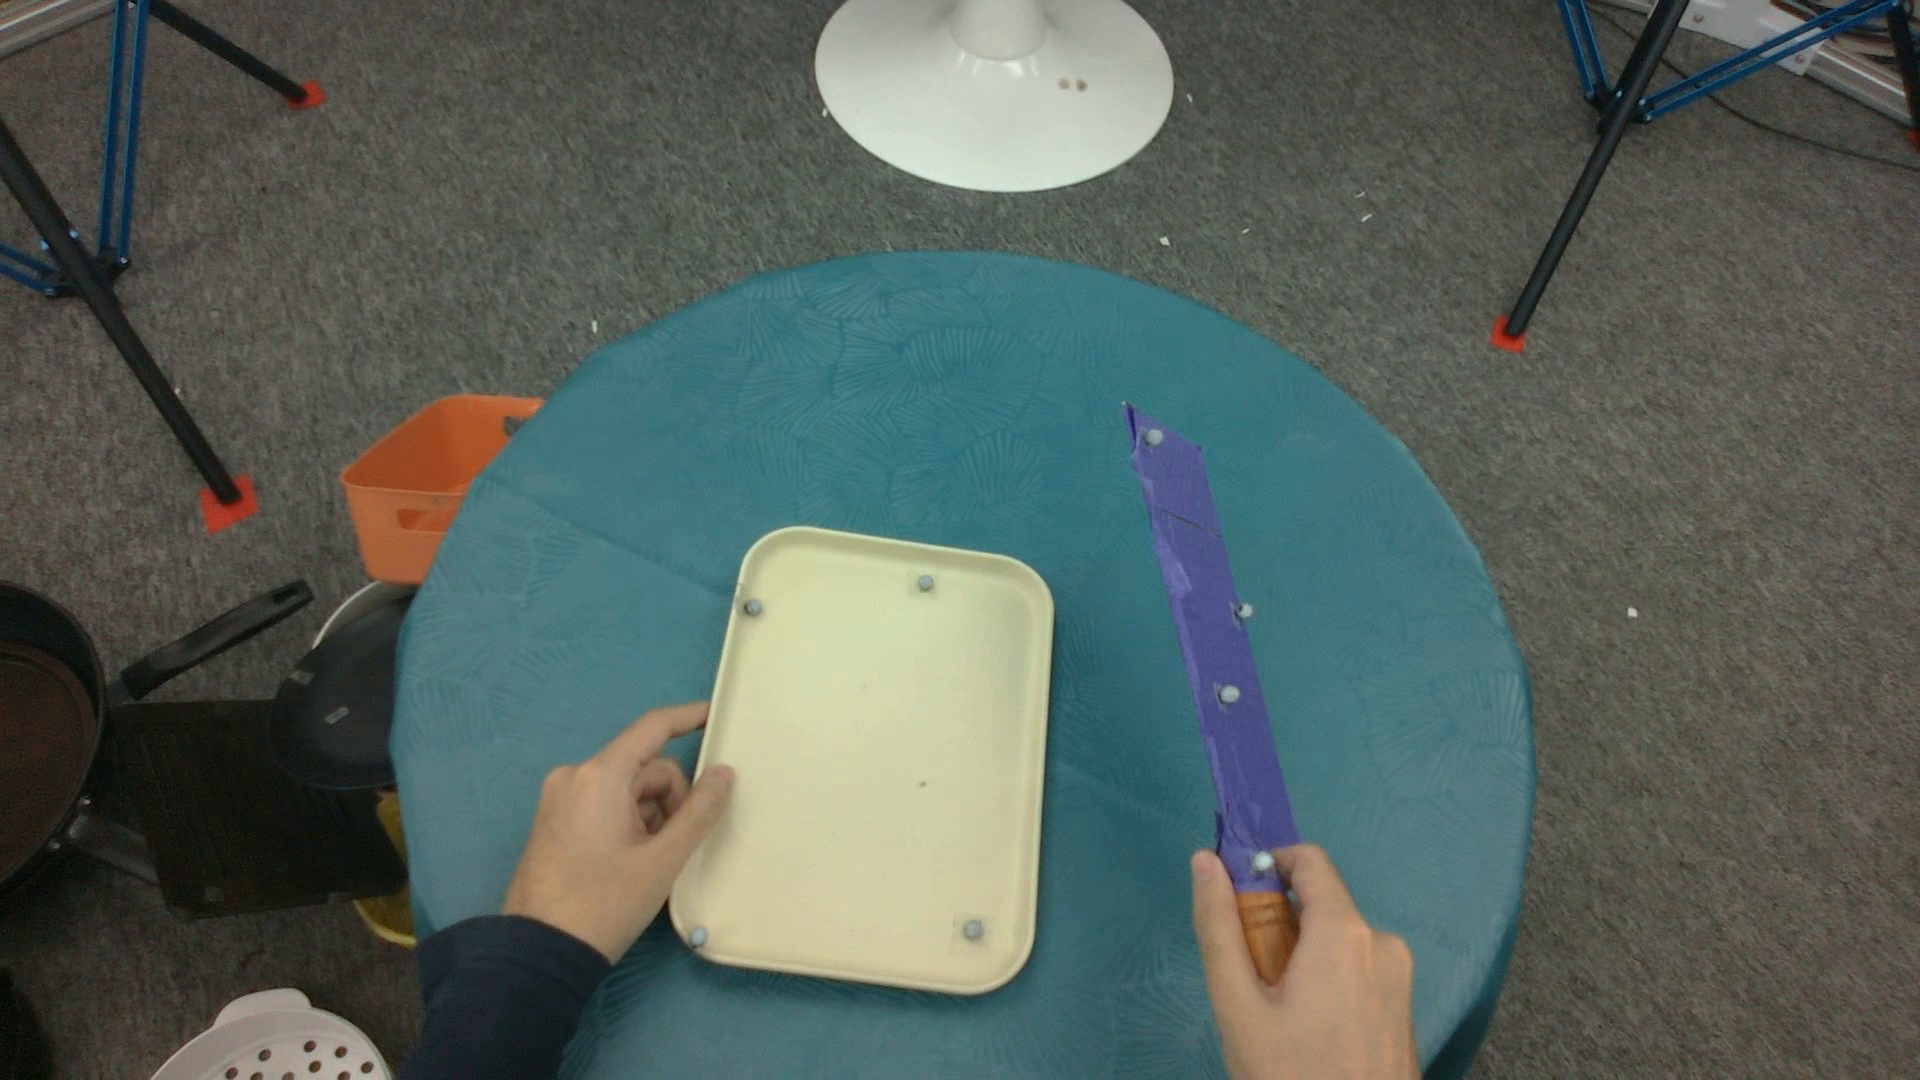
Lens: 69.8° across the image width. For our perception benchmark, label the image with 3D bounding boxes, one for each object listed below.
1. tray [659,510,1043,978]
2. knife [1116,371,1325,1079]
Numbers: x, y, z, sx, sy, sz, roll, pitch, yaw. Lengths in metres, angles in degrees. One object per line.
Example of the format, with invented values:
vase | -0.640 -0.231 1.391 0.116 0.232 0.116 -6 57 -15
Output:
tray | -0.047 0.095 0.691 0.171 0.017 0.241 10 55 -5
knife | 0.120 0.079 0.605 0.032 0.104 0.316 -17 70 25
